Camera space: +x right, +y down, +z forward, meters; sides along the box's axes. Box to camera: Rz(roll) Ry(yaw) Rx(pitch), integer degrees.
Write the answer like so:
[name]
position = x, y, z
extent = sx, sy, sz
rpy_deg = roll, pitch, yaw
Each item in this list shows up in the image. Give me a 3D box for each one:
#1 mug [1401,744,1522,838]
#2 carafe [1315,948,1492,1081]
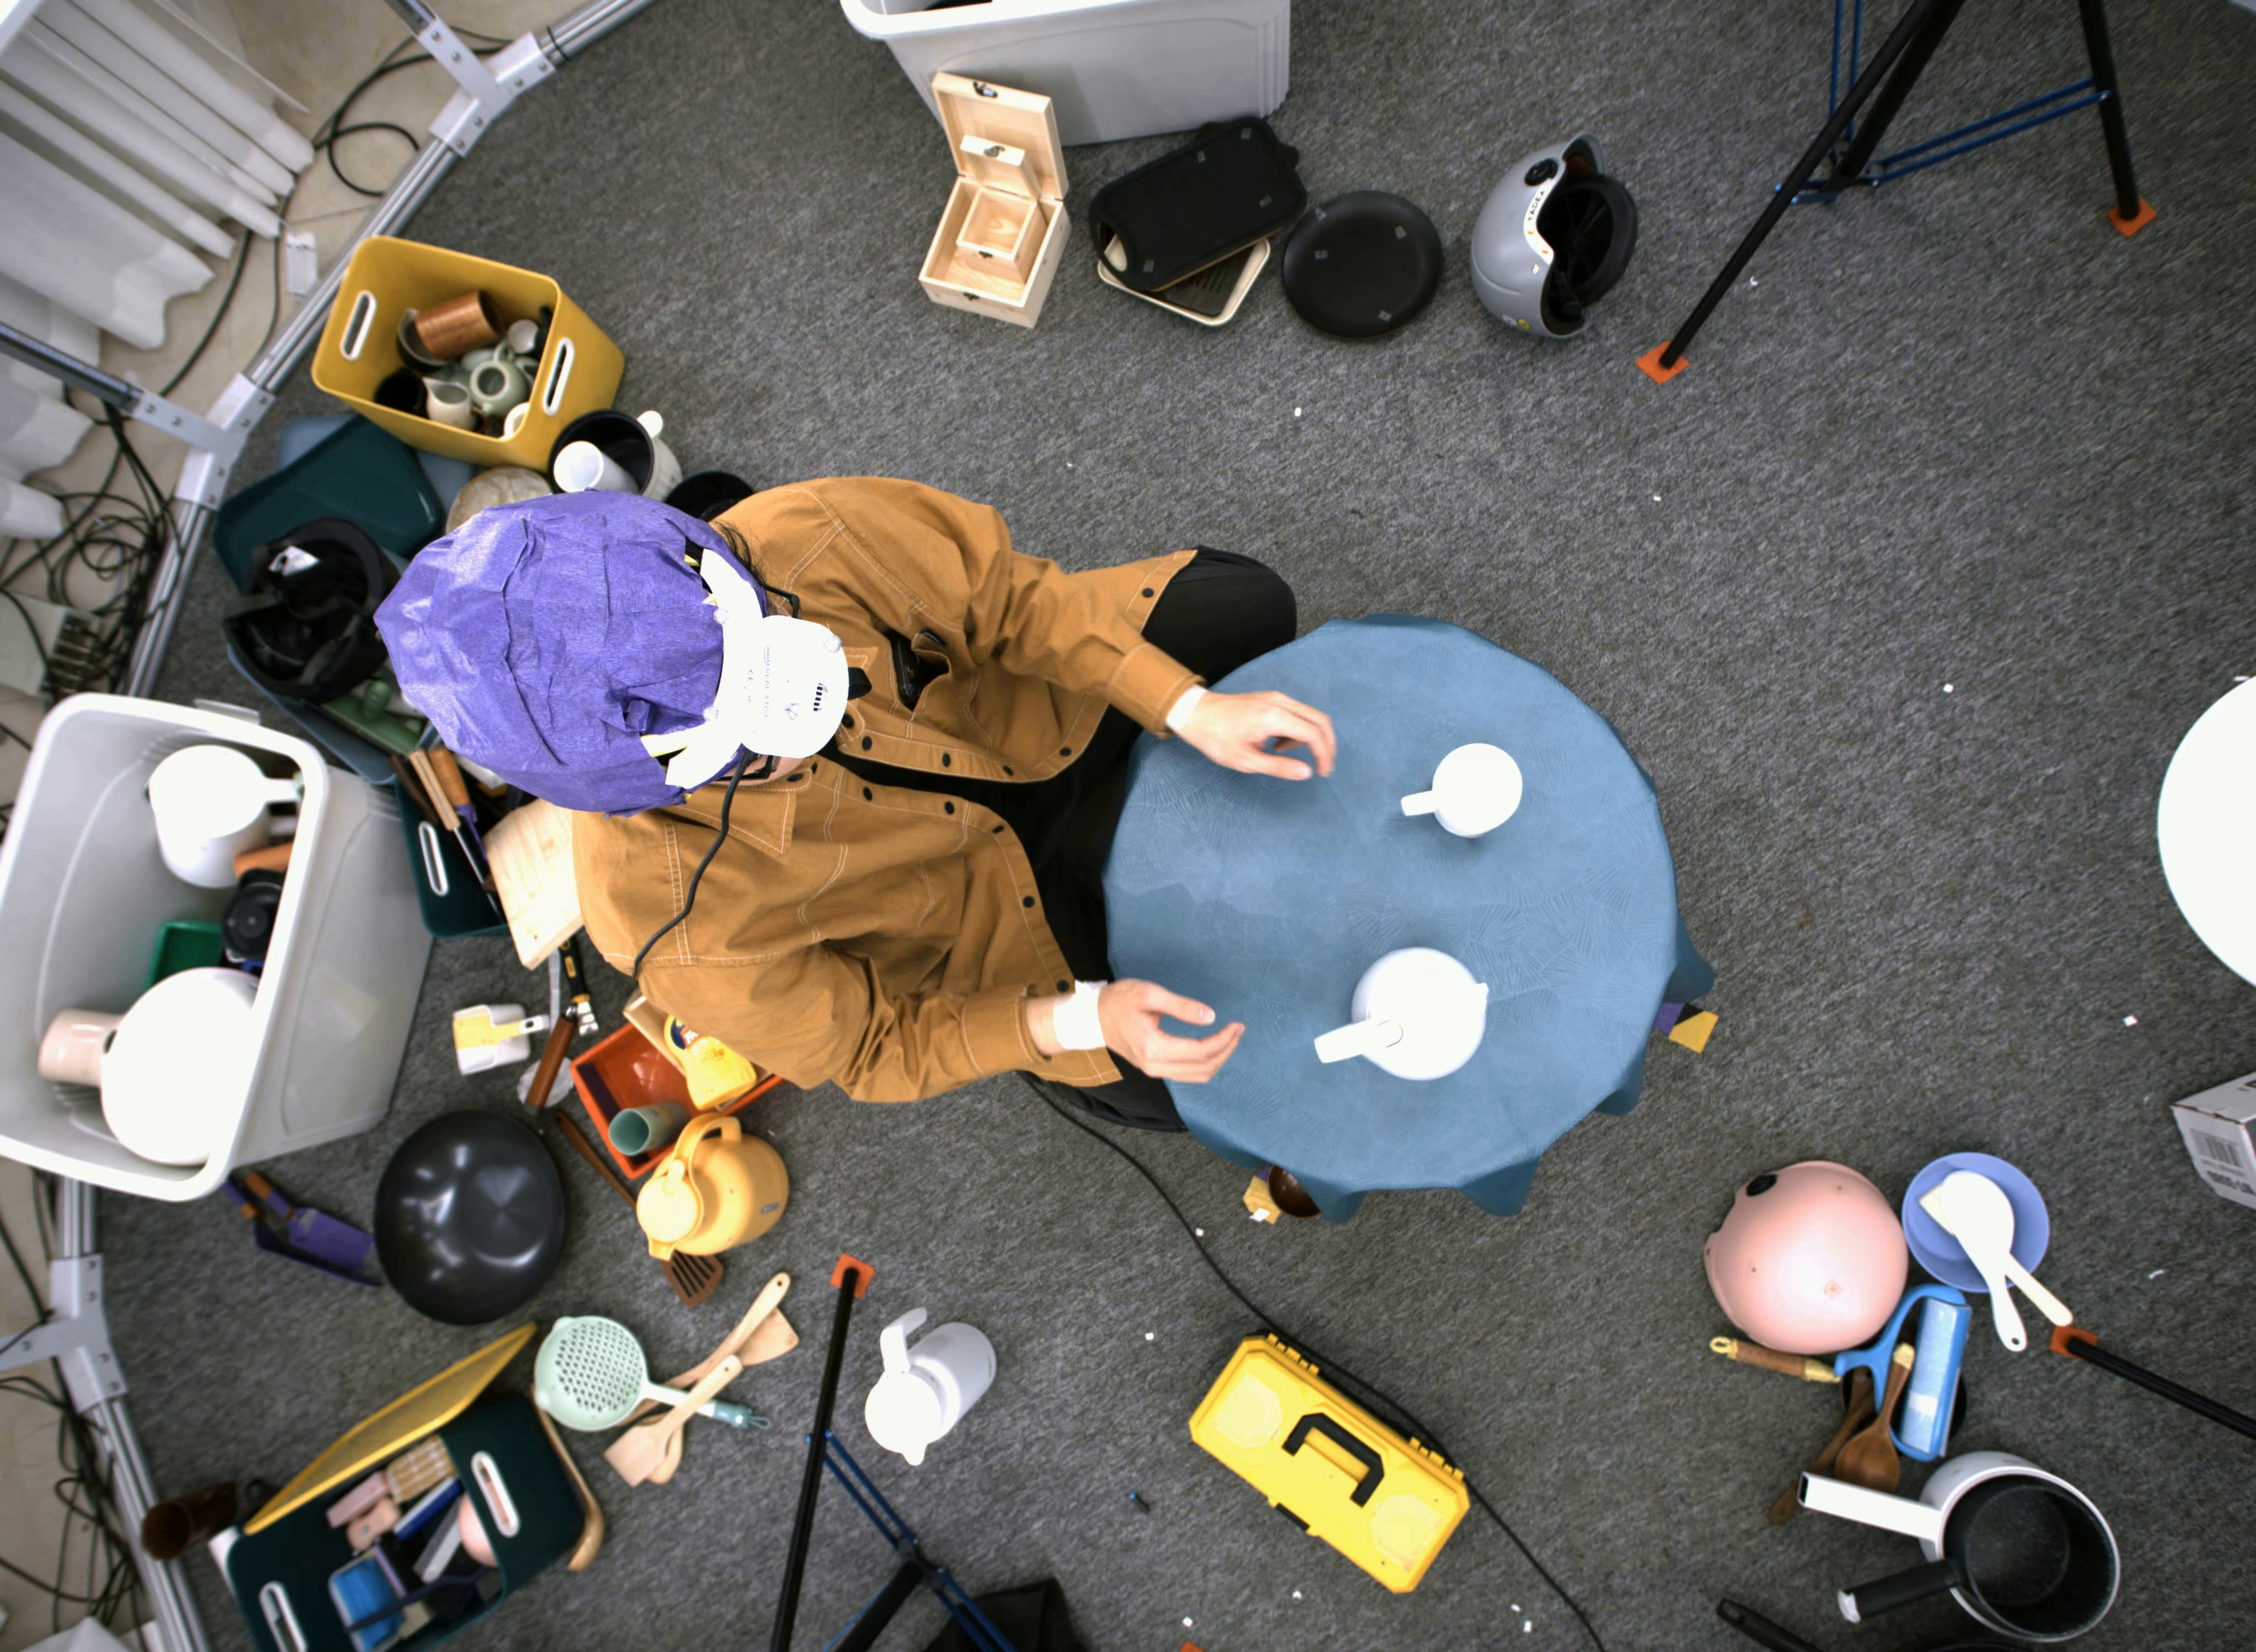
[mug]
position = 0.337, -0.031, 1.401
extent = 0.119, 0.102, 0.084
rpy_deg = -14, 82, 9
[carafe]
position = 0.263, 0.189, 1.331
extent = 0.169, 0.248, 0.131
rpy_deg = -22, 82, 8
